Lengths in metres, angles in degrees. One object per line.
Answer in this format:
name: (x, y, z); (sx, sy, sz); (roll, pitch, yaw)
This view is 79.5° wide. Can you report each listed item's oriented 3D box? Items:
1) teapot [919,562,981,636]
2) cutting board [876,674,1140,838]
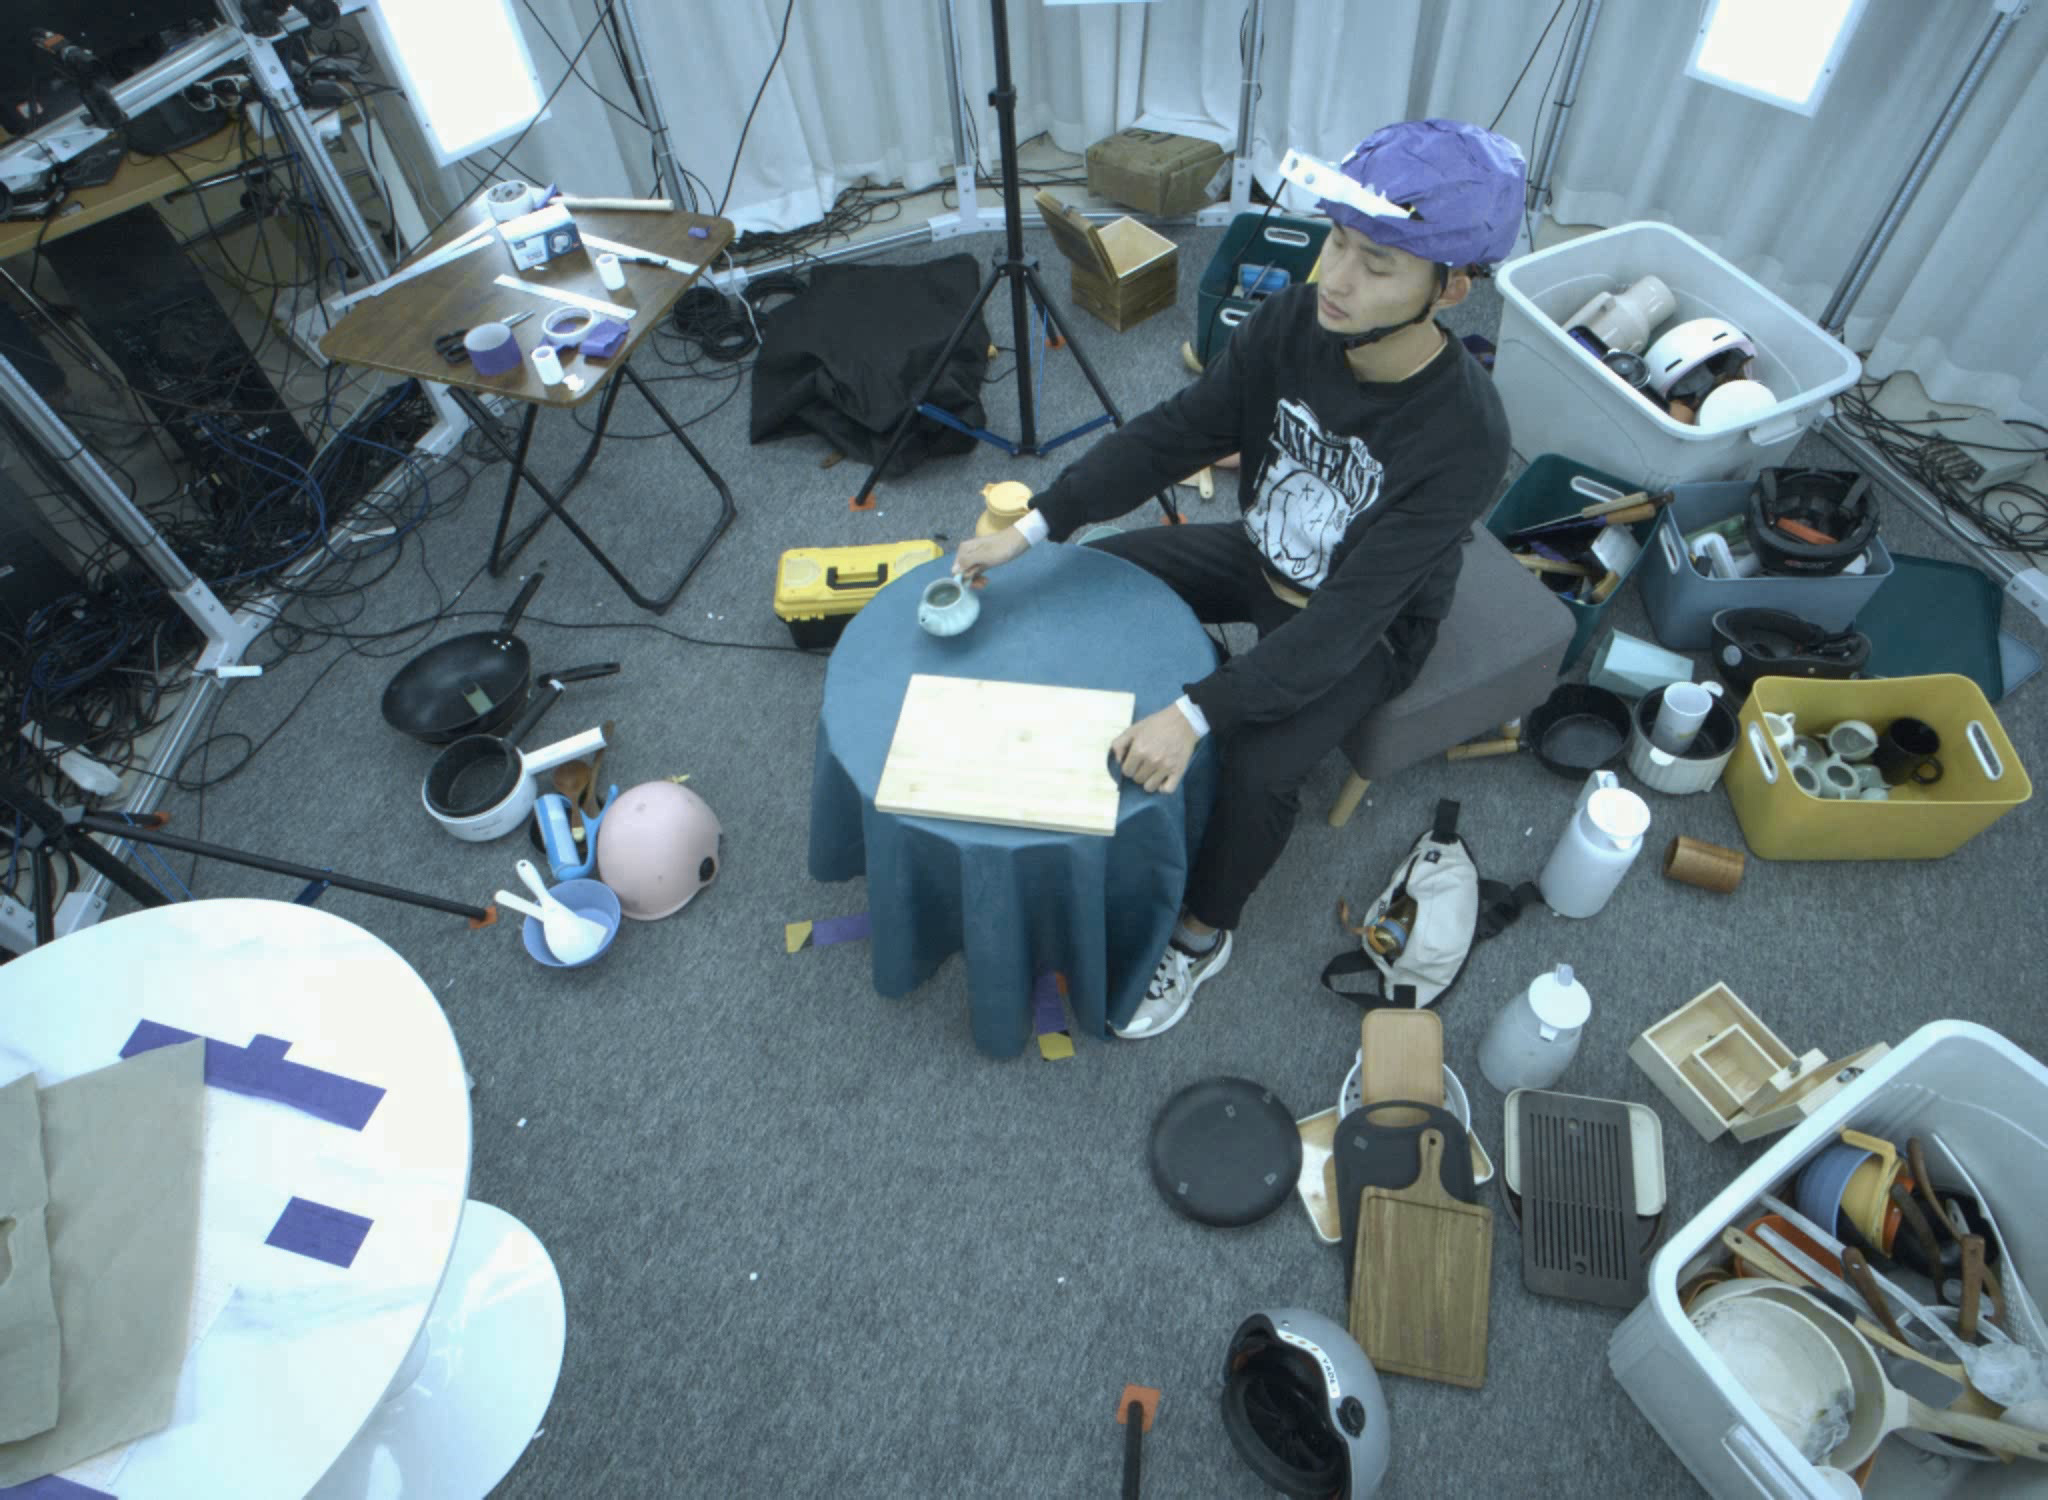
teapot: (-0.115, -0.226, 1.877); (0.094, 0.062, 0.137); (17, 63, 22)
cutting board: (-0.018, 0.003, 1.767); (0.347, 0.024, 0.249); (5, 55, 7)
